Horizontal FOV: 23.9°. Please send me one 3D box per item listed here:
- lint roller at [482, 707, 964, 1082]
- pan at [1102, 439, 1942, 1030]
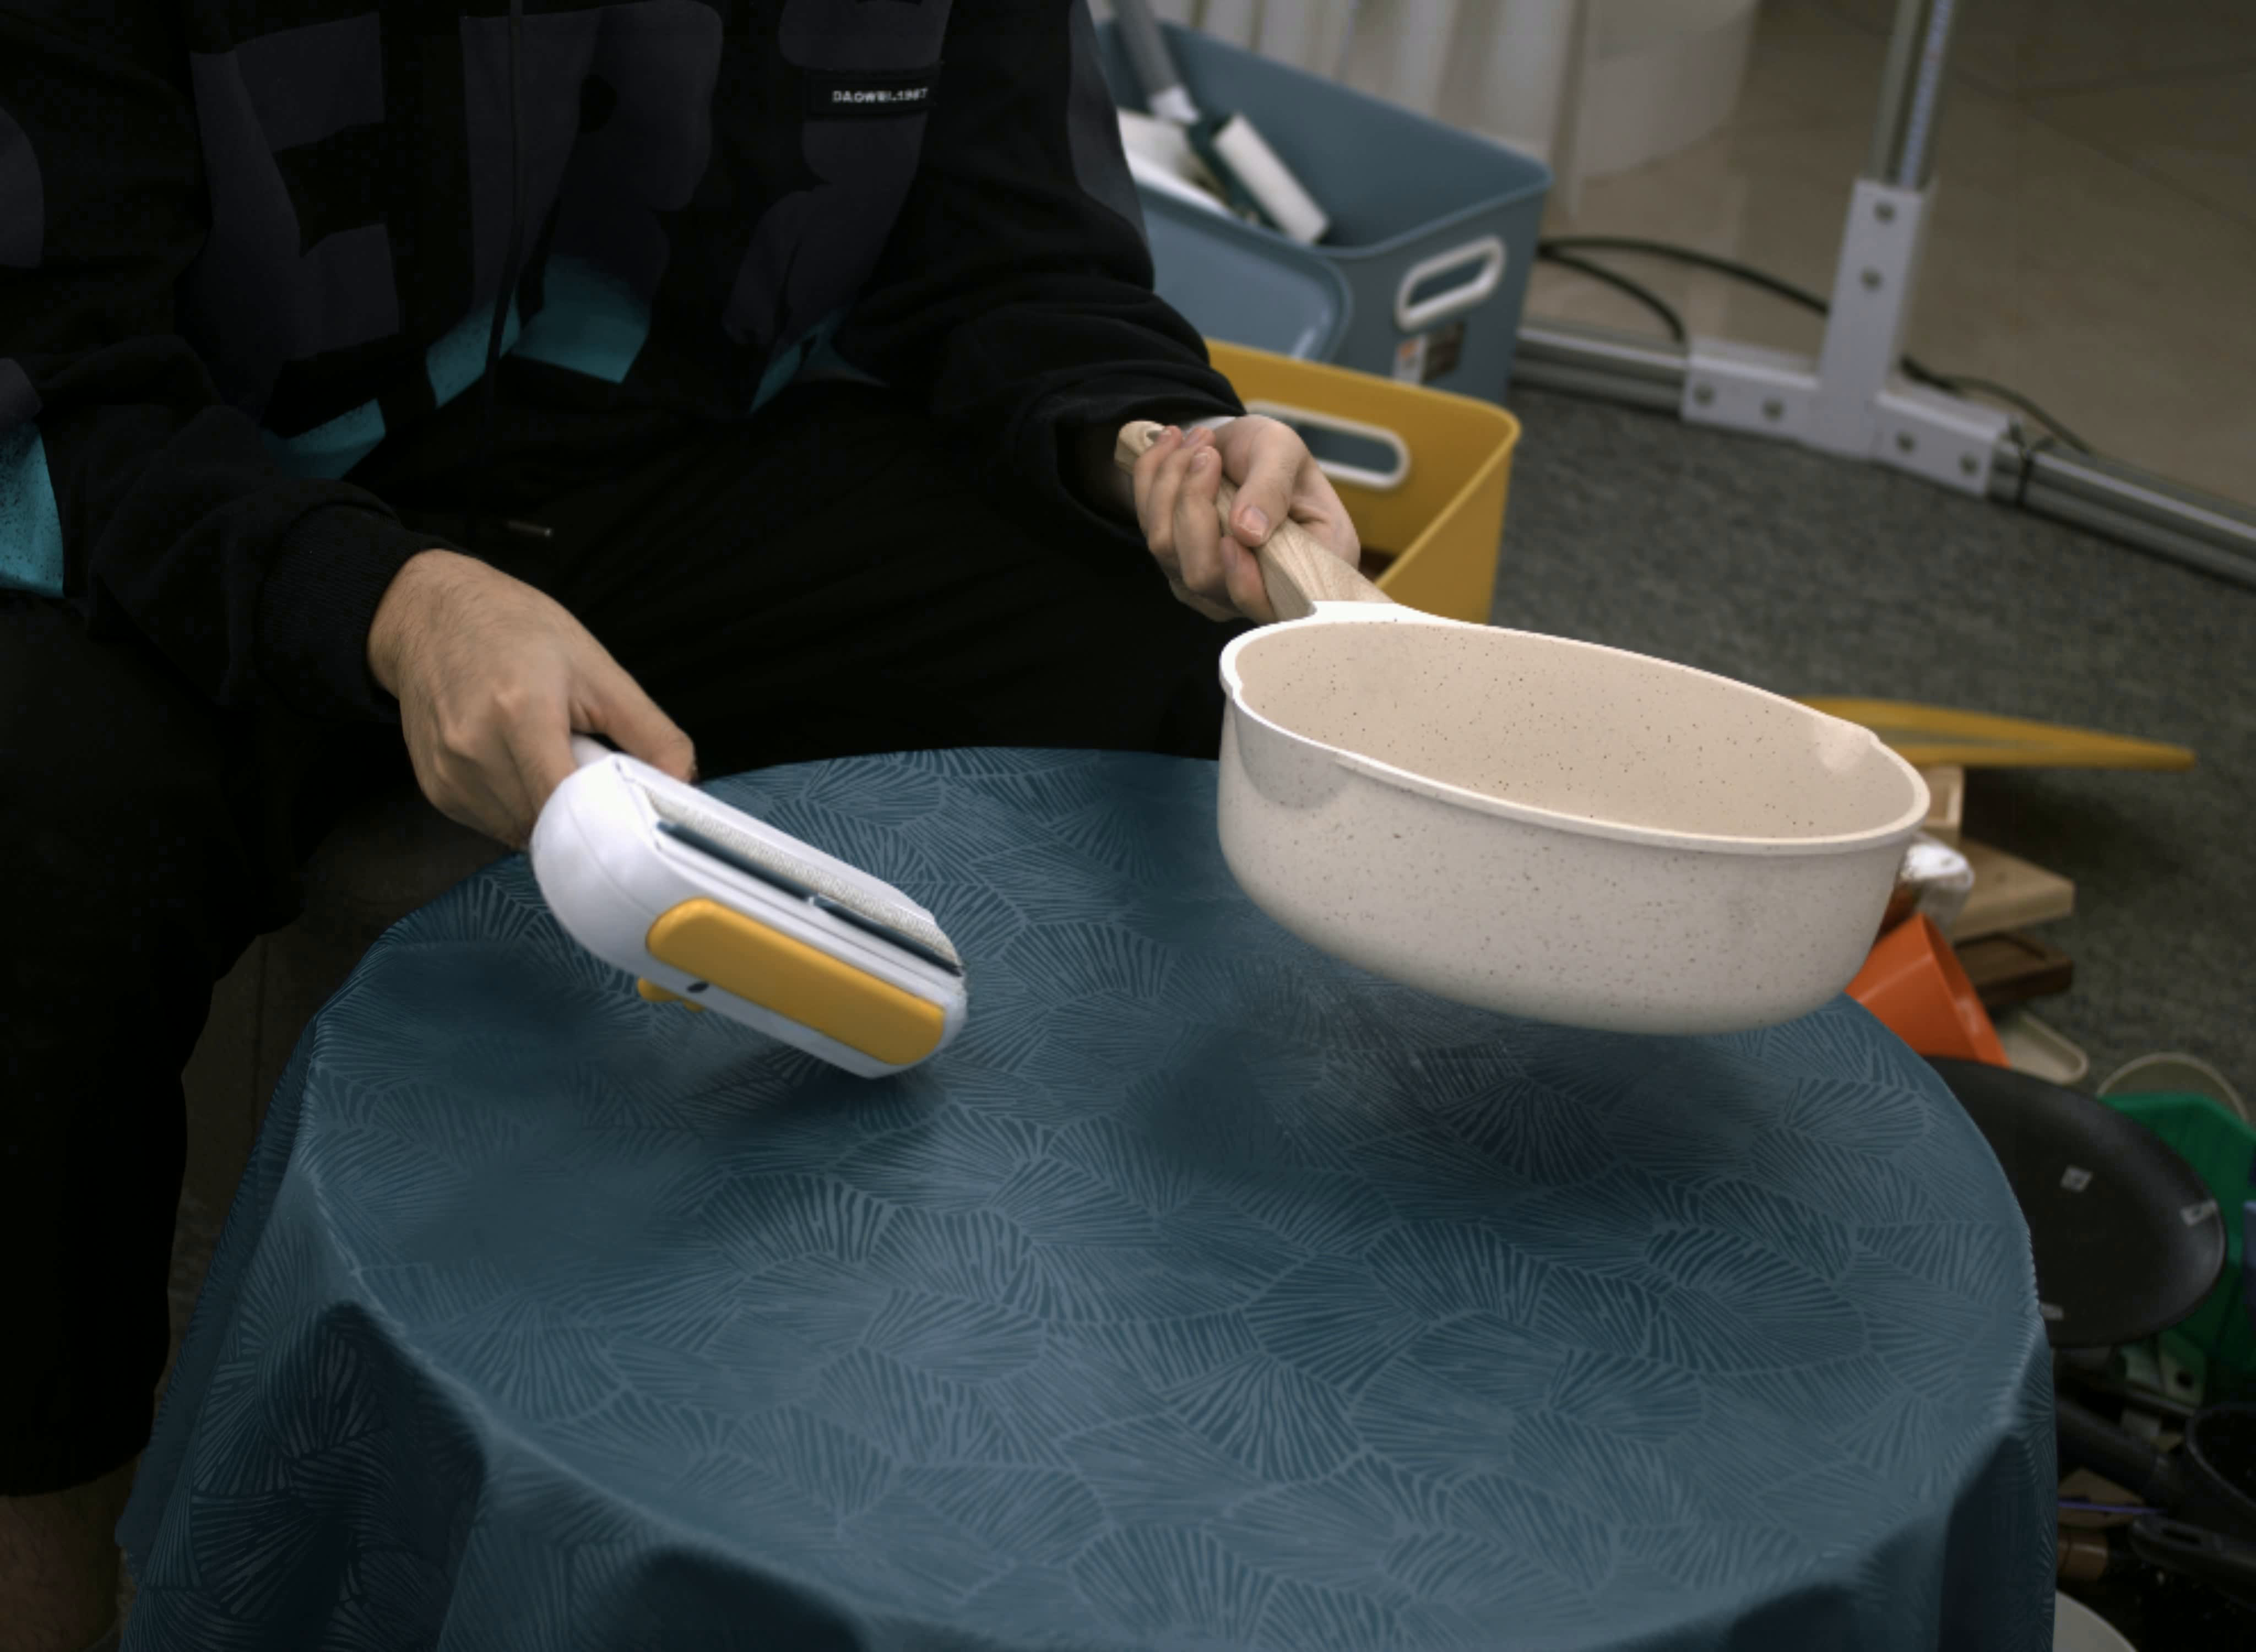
[{"bbox_3d":[-0.162,0.004,1.830,0.191,0.074,0.194,23,20,-43],"label":"lint roller"},{"bbox_3d":[0.106,-0.035,1.926,0.261,0.102,0.438,-2,20,-31],"label":"pan"}]
